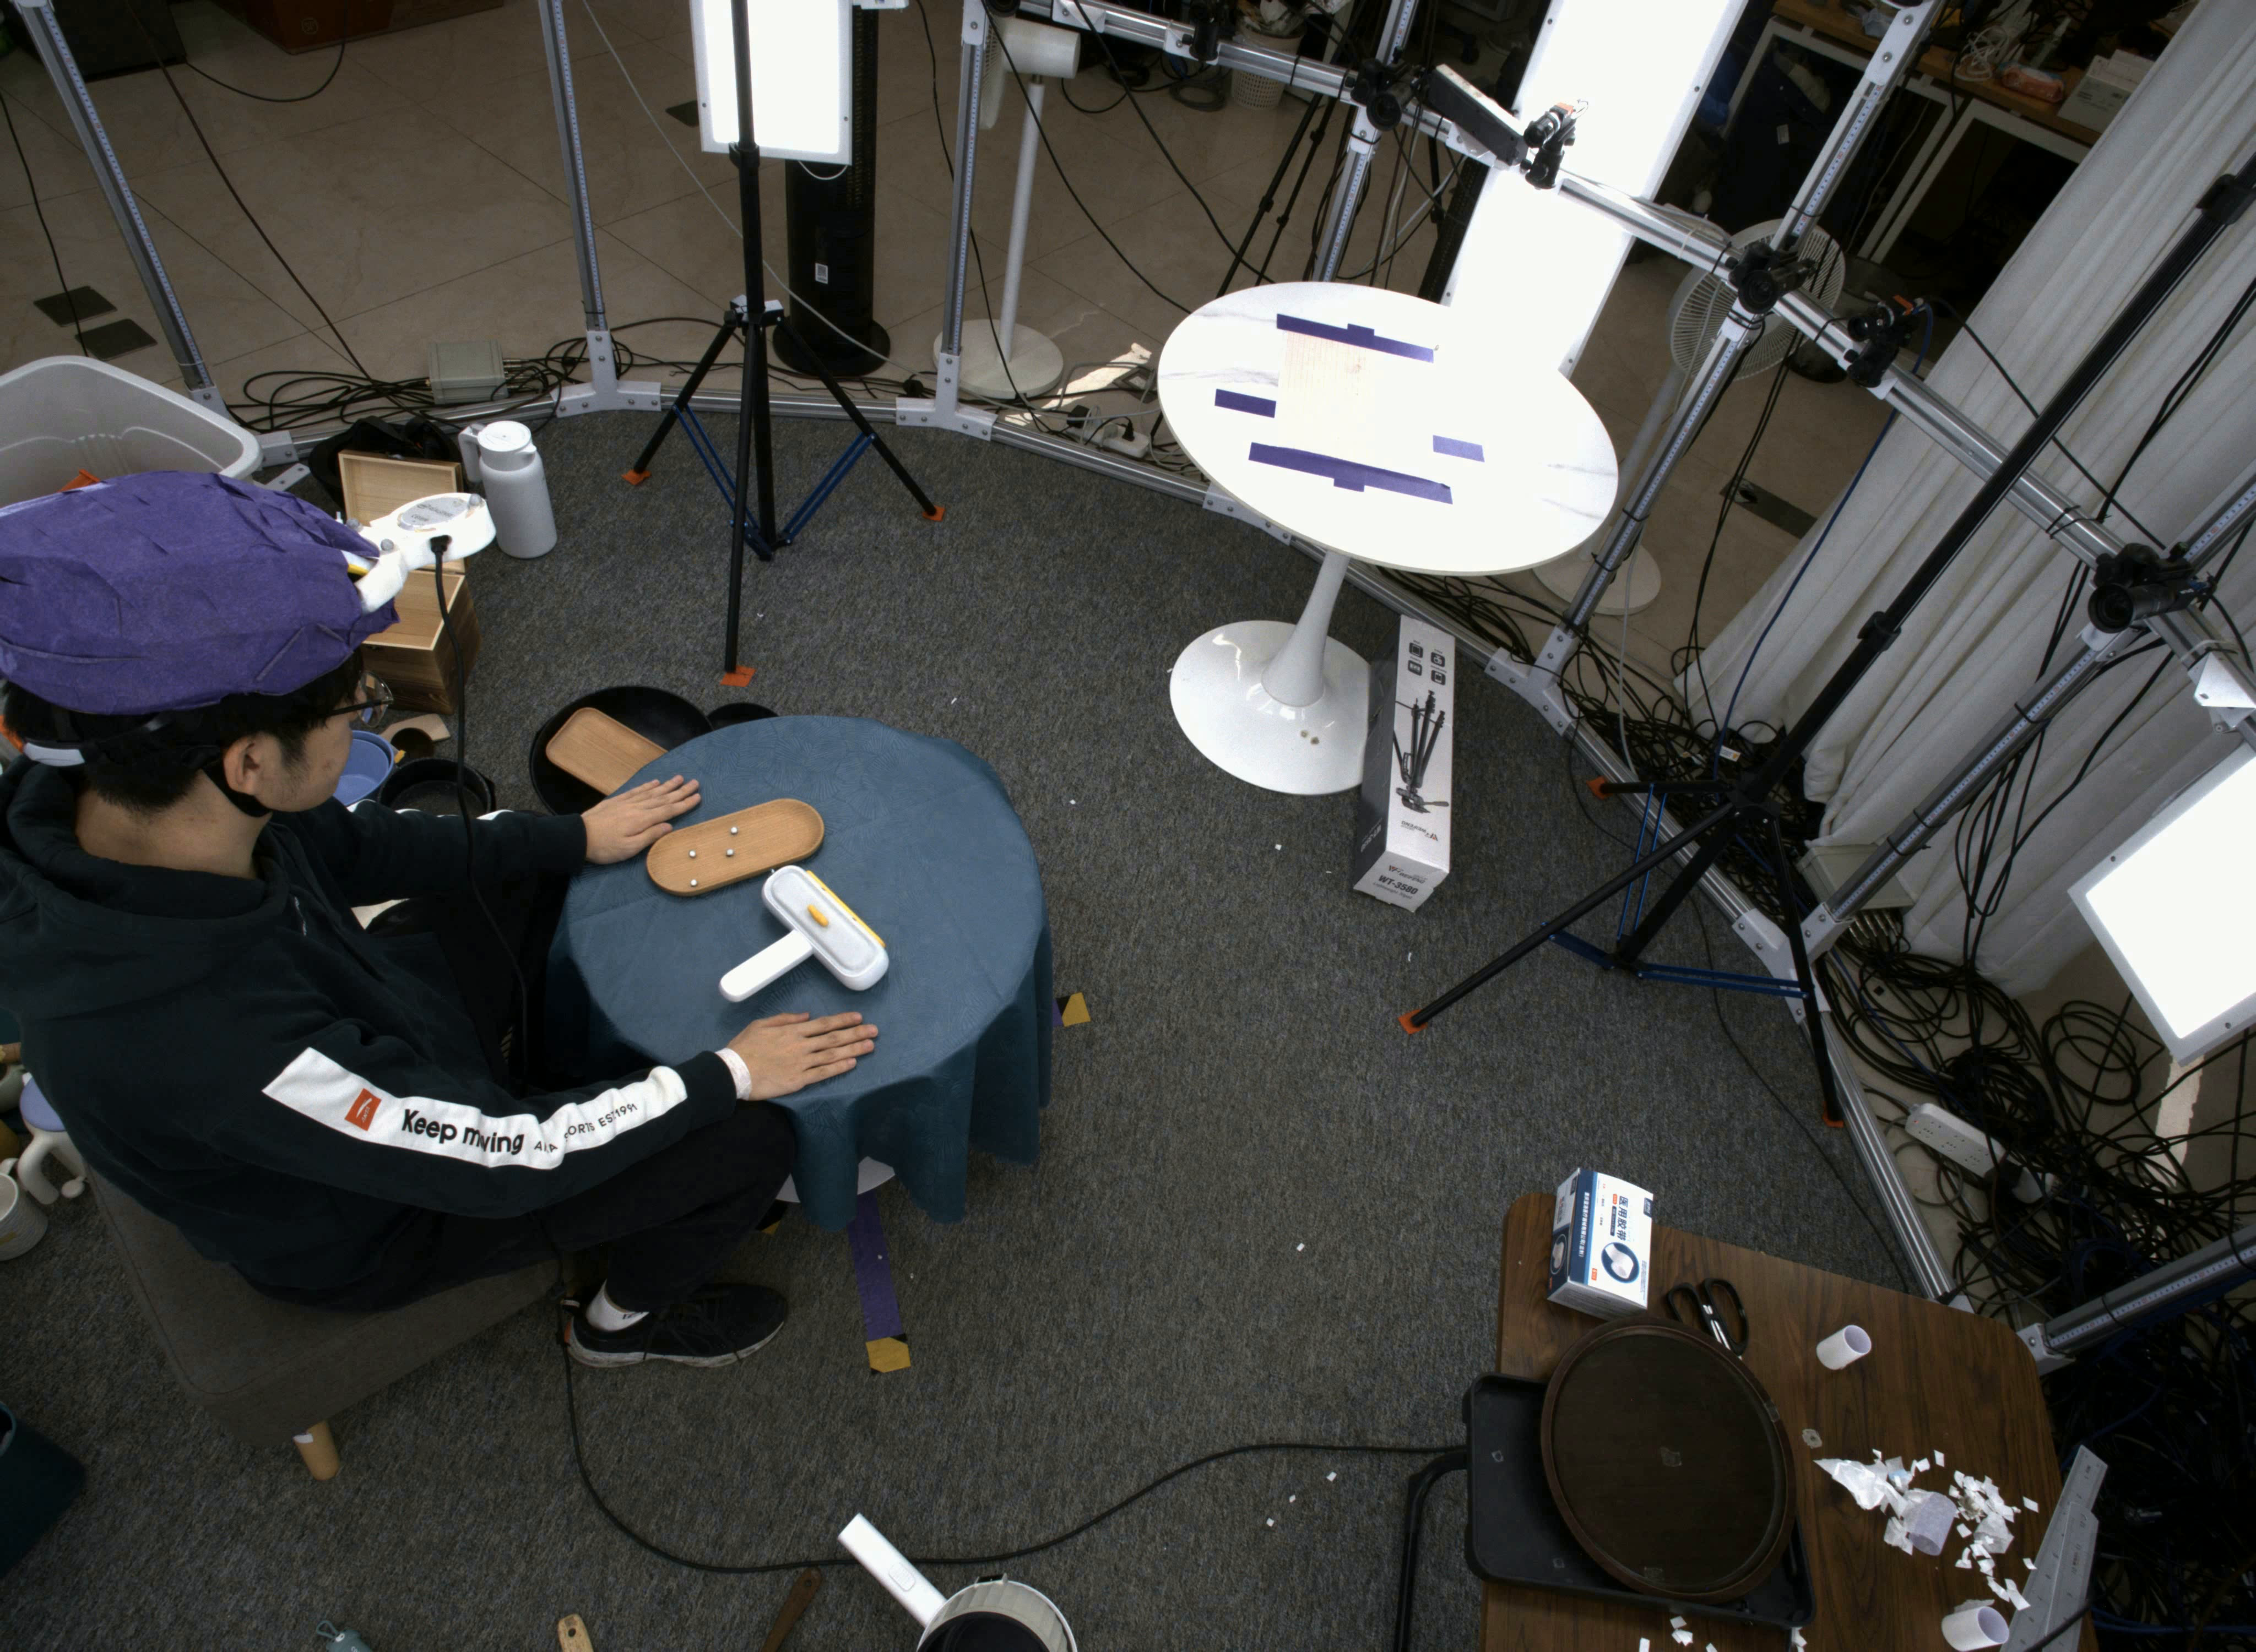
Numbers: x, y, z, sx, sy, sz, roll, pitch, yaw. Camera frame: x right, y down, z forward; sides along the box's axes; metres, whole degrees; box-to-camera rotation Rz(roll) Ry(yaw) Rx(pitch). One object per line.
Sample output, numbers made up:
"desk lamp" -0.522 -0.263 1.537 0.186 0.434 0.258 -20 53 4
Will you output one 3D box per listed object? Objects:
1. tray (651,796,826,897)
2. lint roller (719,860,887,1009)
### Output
"tray" -0.504 0.025 1.680 0.232 0.020 0.099 -21 63 -28
"lint roller" -0.417 0.151 1.577 0.191 0.075 0.192 41 61 7
